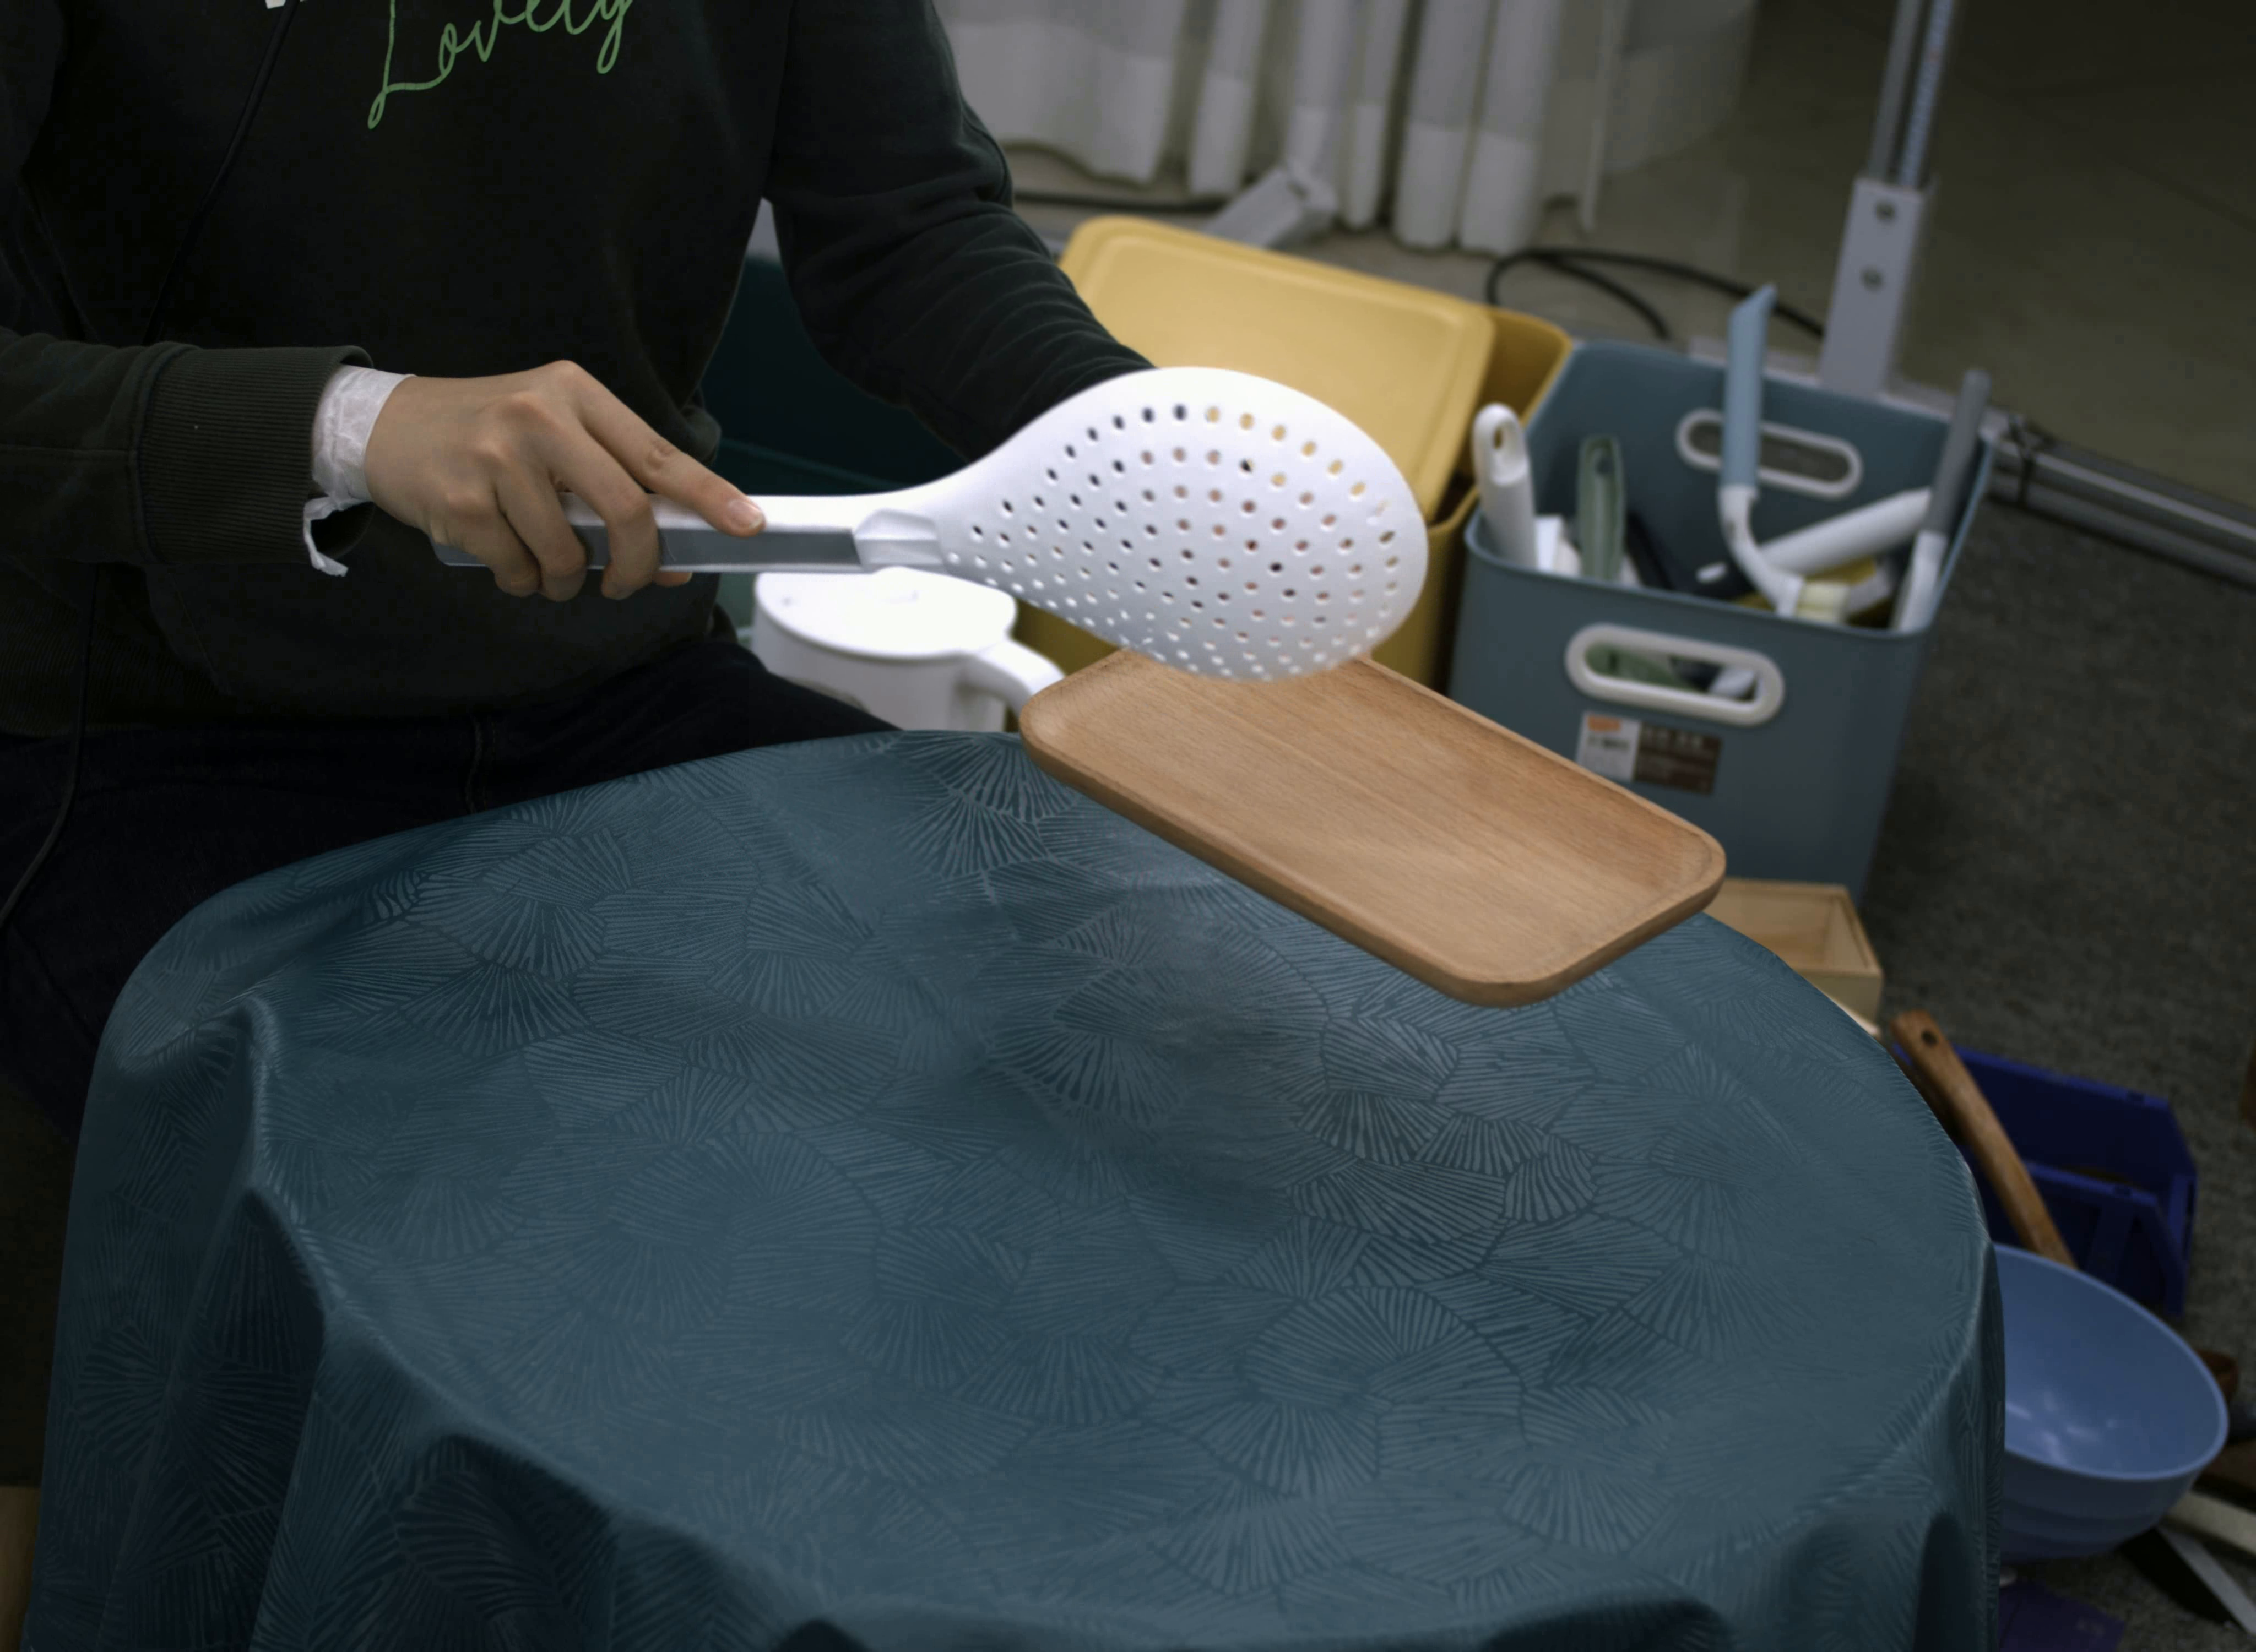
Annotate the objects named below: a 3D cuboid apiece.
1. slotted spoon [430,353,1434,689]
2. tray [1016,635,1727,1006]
[{"bbox_3d":[-0.071,-0.097,1.778,0.350,0.135,0.046,5,41,21],"label":"slotted spoon"},{"bbox_3d":[0.081,-0.009,1.827,0.130,0.023,0.252,-25,38,-36],"label":"tray"}]
